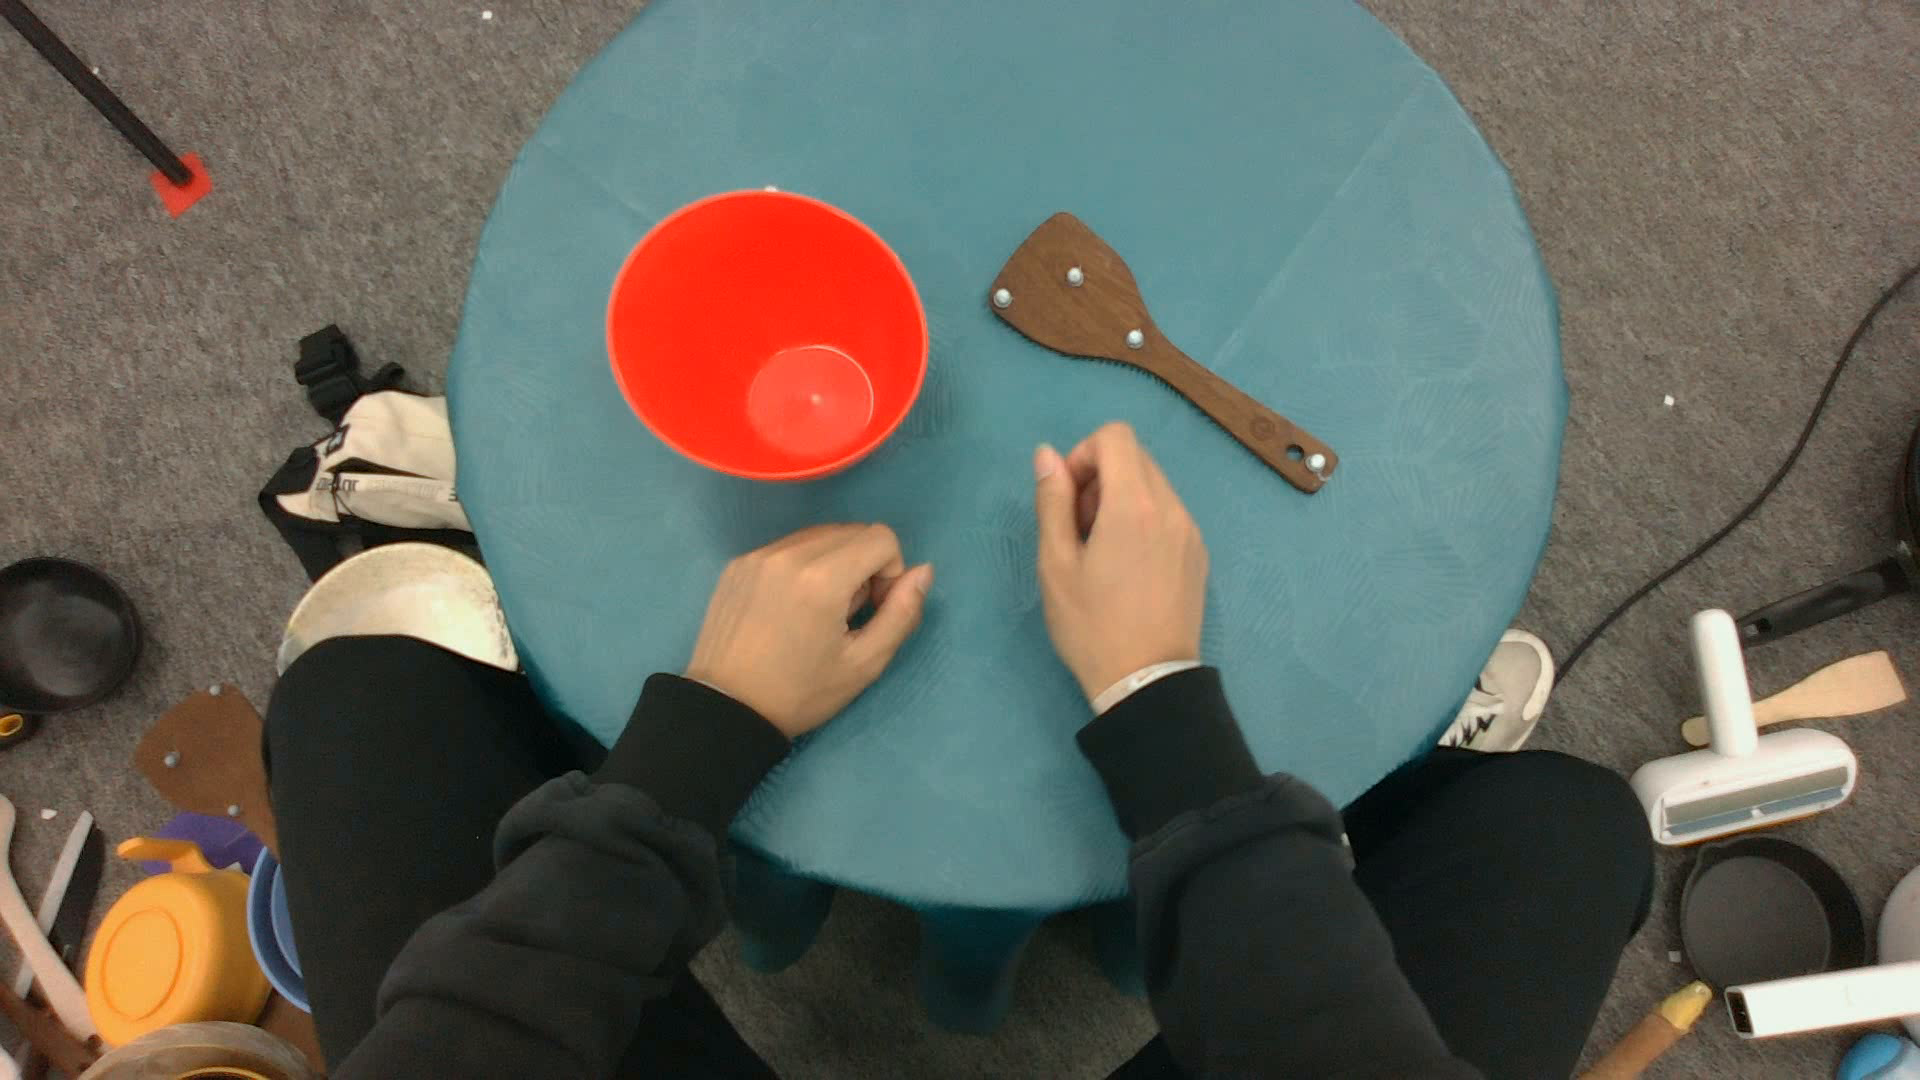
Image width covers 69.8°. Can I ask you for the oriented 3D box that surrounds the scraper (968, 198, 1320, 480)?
[{"bbox_3d":[0.103,-0.103,0.743,0.211,0.011,0.076,38,76,9],"label":"scraper"}]

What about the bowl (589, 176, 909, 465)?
[{"bbox_3d":[-0.099,-0.095,0.688,0.148,0.104,0.148,0,73,-1],"label":"bowl"}]
